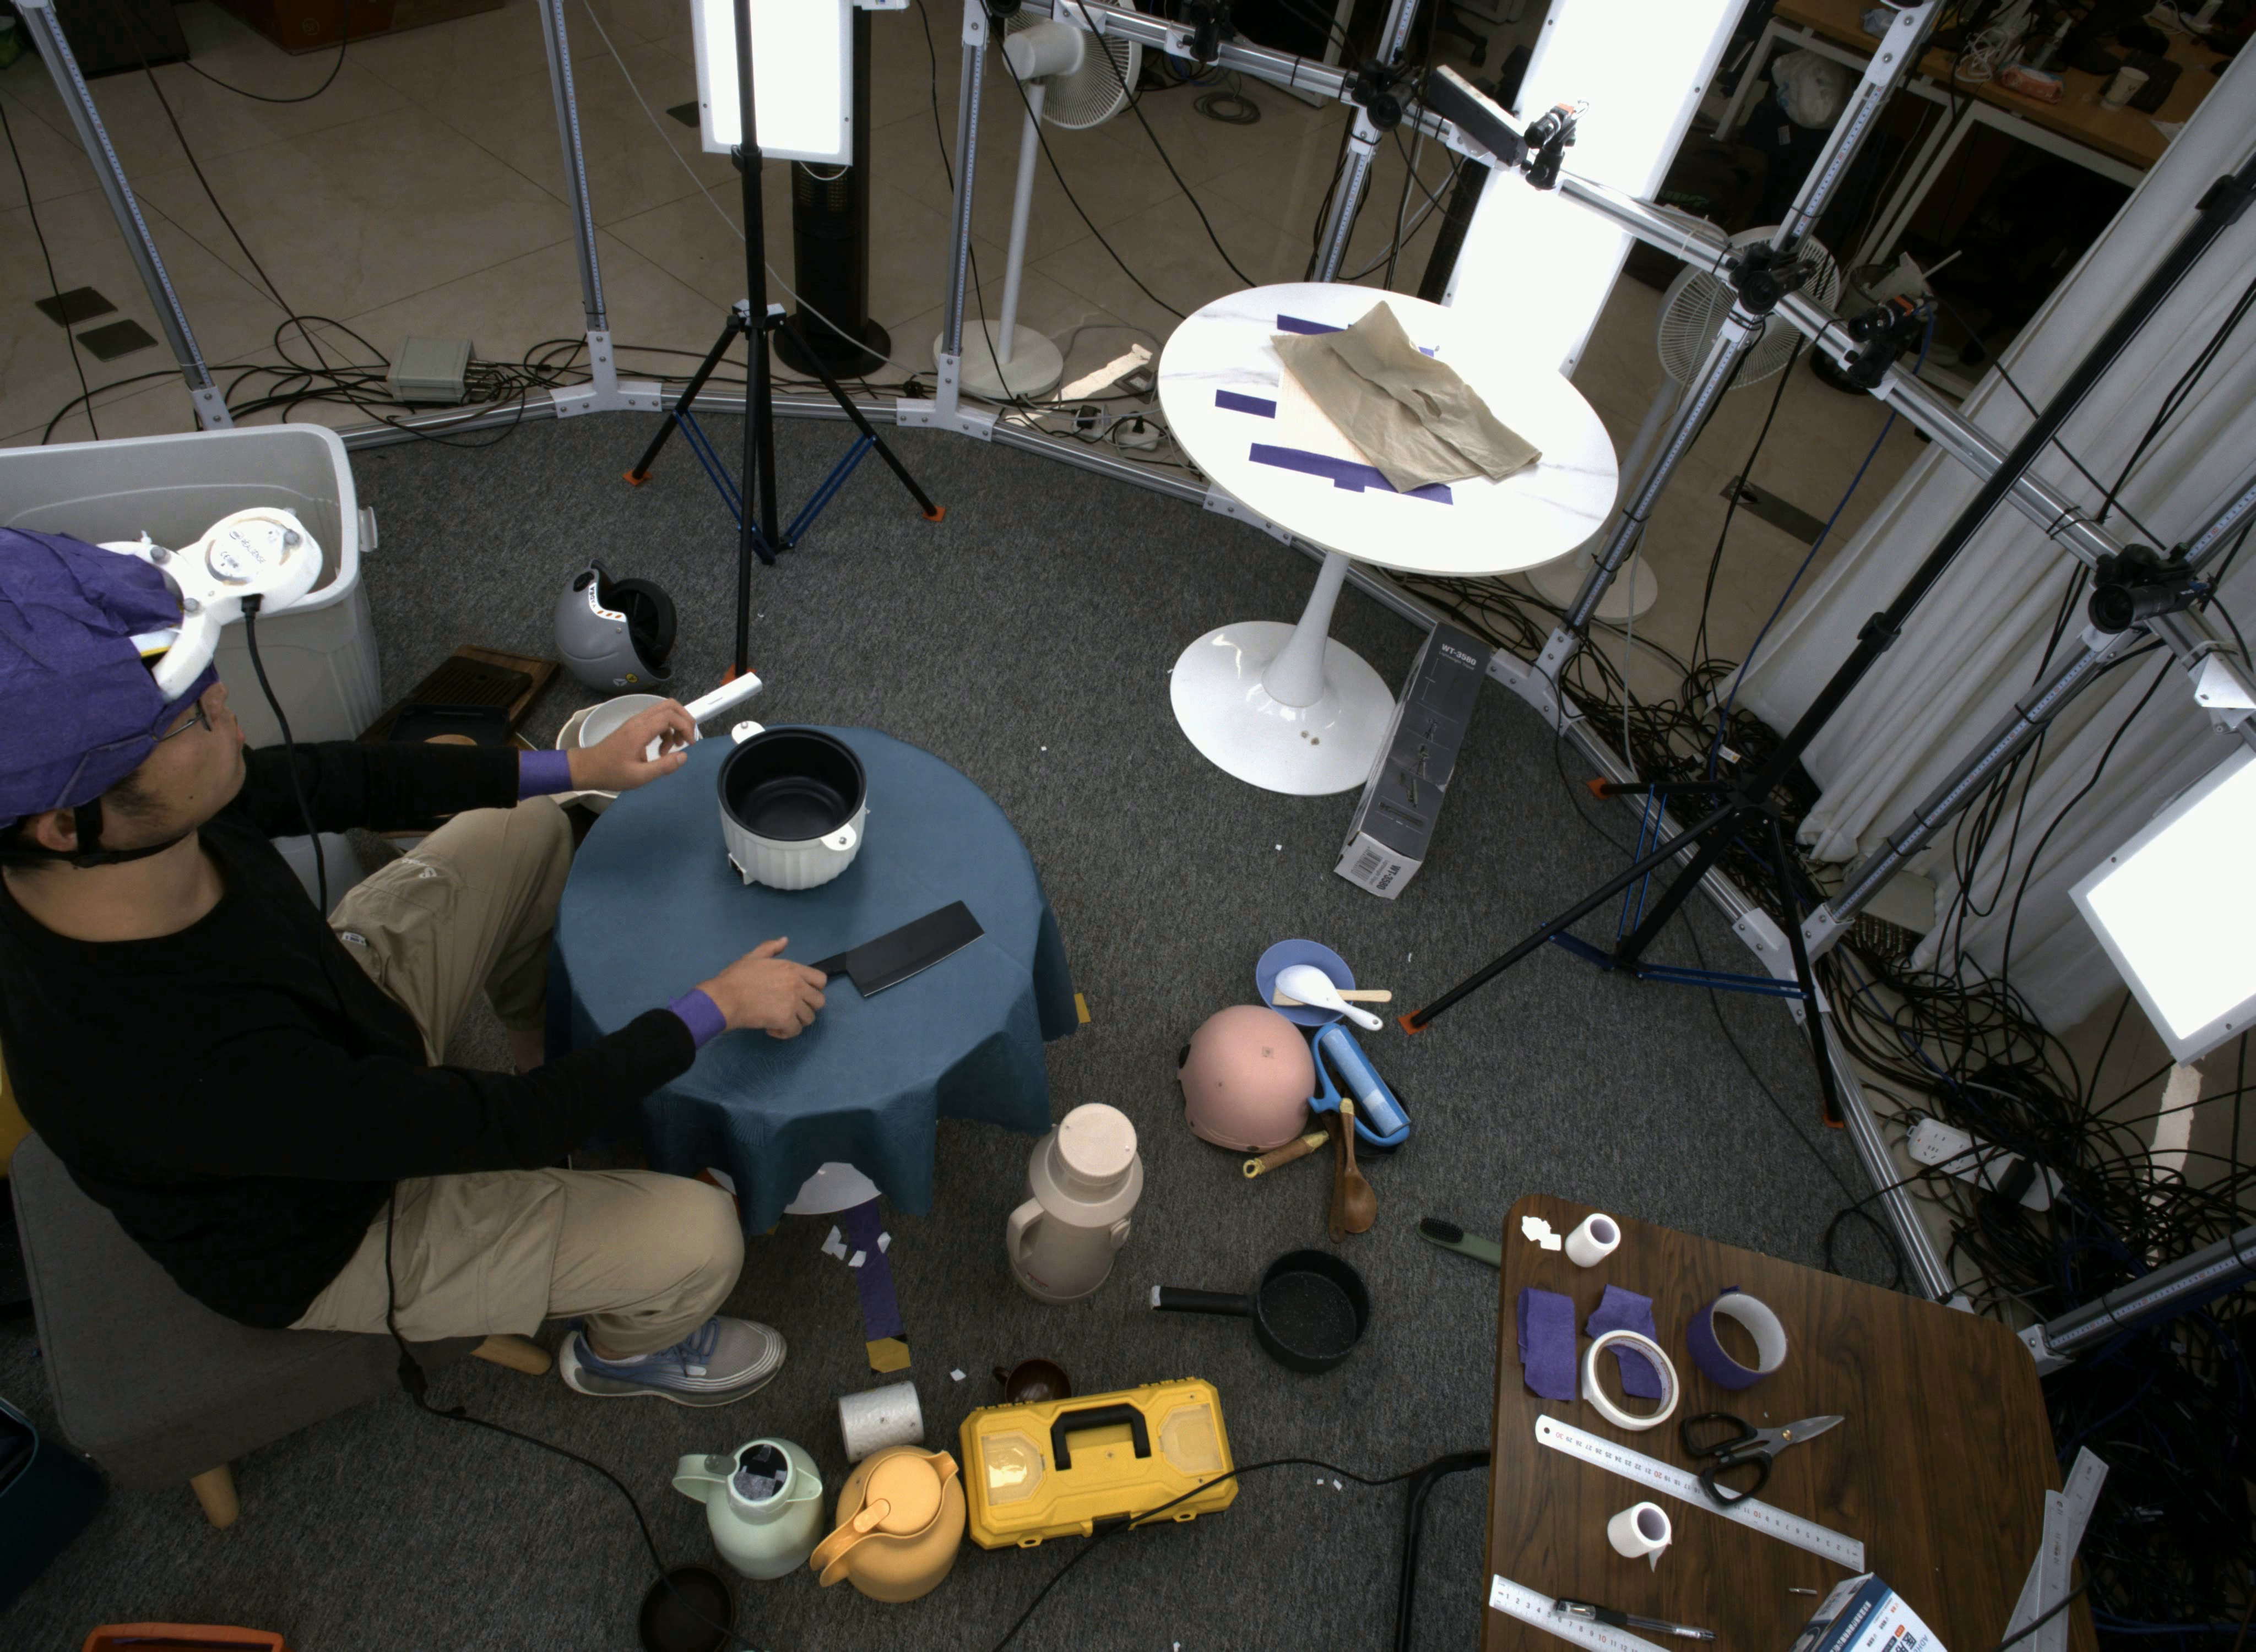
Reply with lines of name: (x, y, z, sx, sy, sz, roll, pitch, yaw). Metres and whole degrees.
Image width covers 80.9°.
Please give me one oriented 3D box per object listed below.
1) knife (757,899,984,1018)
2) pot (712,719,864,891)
knife: (-0.319, 0.167, 1.615, 0.304, 0.021, 0.079, -21, 62, -29)
pot: (-0.423, -0.020, 1.648, 0.191, 0.145, 0.235, -35, 69, -29)
